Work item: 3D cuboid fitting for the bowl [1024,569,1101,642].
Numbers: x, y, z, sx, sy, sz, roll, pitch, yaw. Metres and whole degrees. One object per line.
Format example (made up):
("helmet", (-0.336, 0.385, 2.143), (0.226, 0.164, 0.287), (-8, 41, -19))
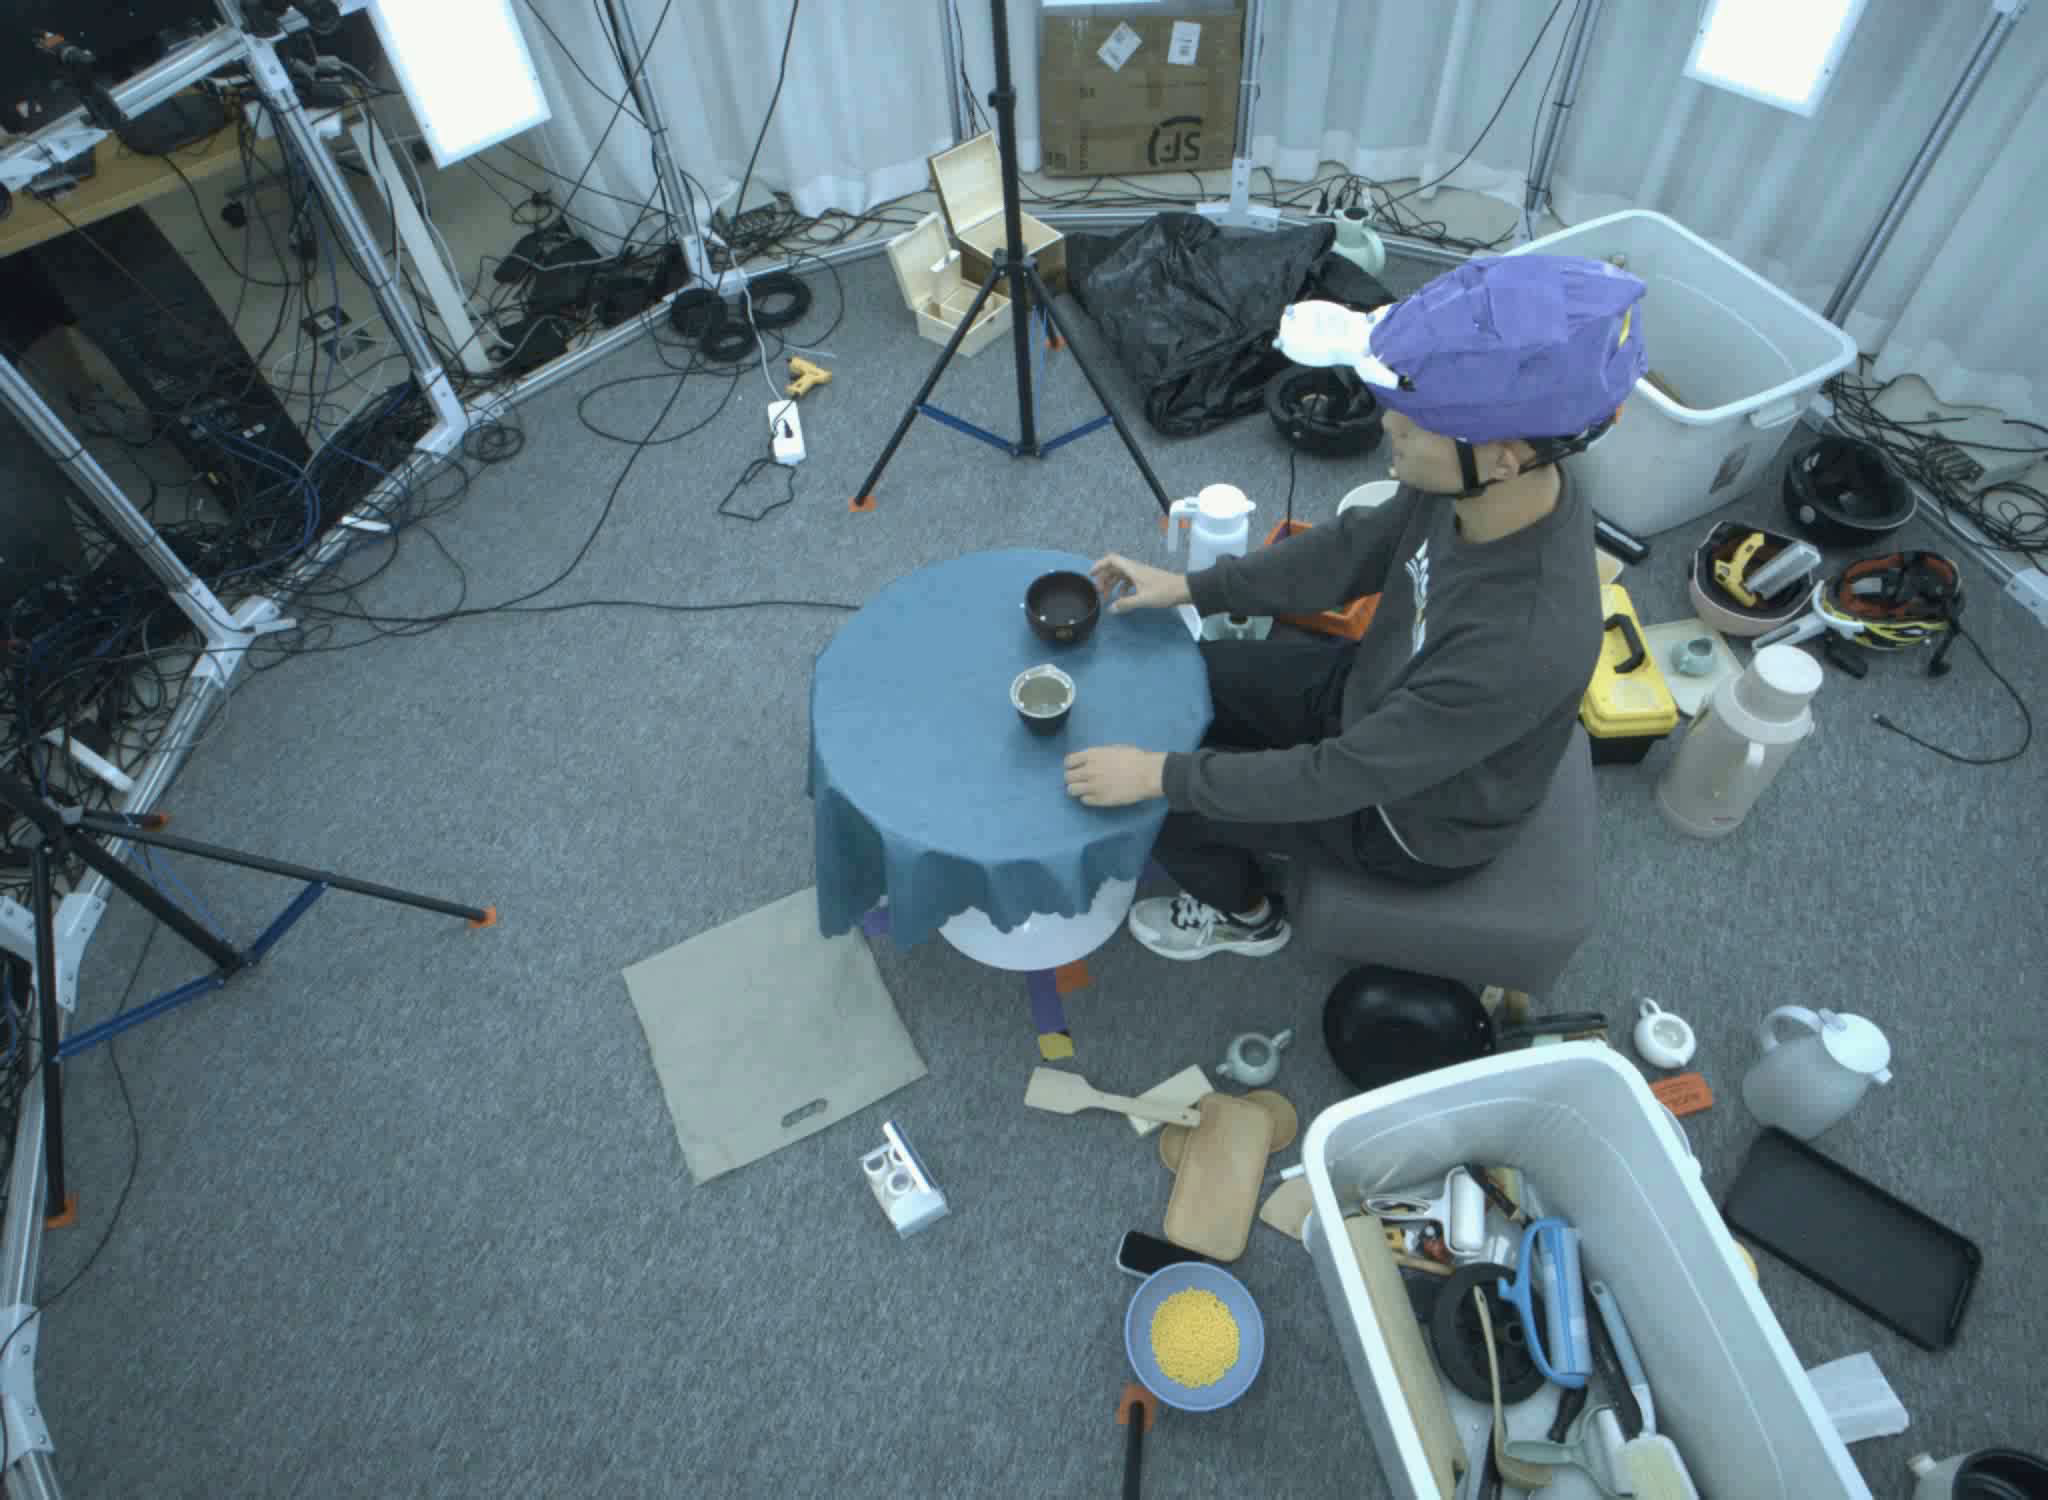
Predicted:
("bowl", (0.059, -0.214, 1.891), (0.118, 0.070, 0.117), (0, 55, 1))

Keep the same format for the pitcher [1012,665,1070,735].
("pitcher", (0.028, -0.066, 1.787), (0.083, 0.072, 0.095), (10, 54, 13))
